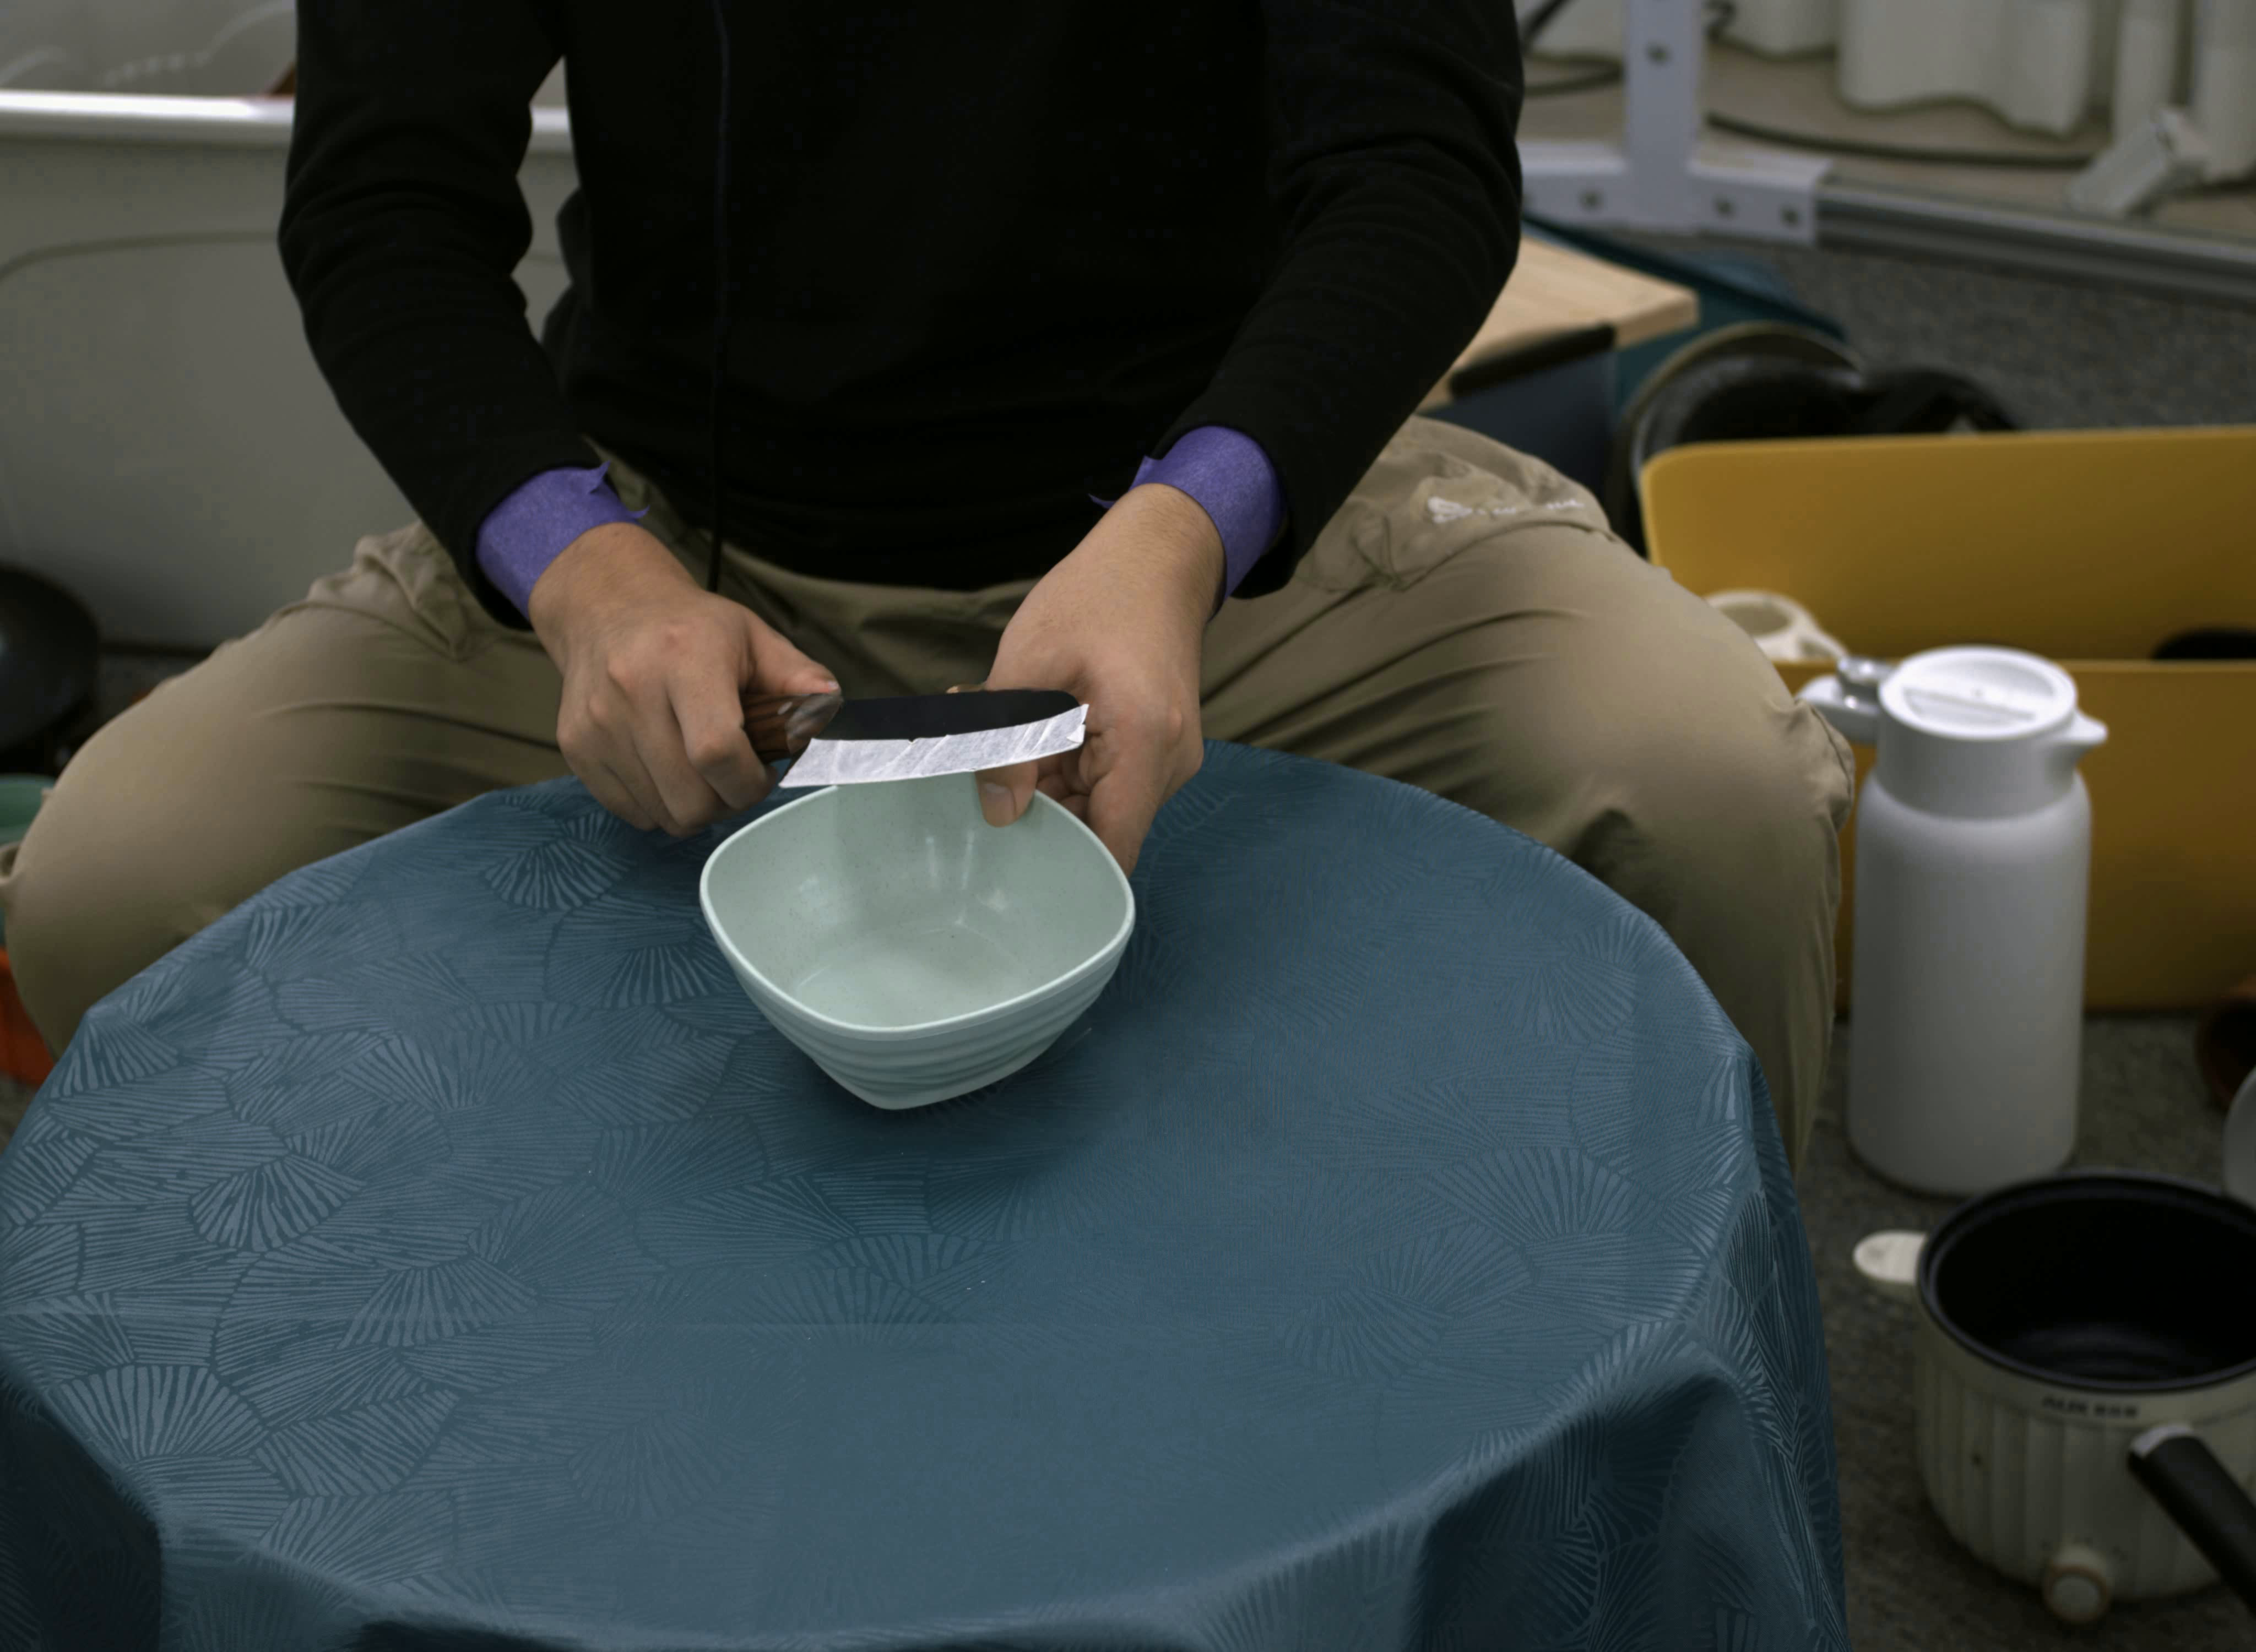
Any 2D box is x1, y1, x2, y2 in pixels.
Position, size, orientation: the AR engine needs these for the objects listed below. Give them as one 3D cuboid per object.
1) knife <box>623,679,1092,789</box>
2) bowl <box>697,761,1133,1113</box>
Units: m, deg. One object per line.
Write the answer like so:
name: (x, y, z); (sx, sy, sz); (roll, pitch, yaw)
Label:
knife: (-0.097, -0.031, 1.985); (0.286, 0.020, 0.051); (0, 45, 54)
bowl: (-0.073, 0.046, 1.929); (0.151, 0.058, 0.154); (1, 38, 0)
